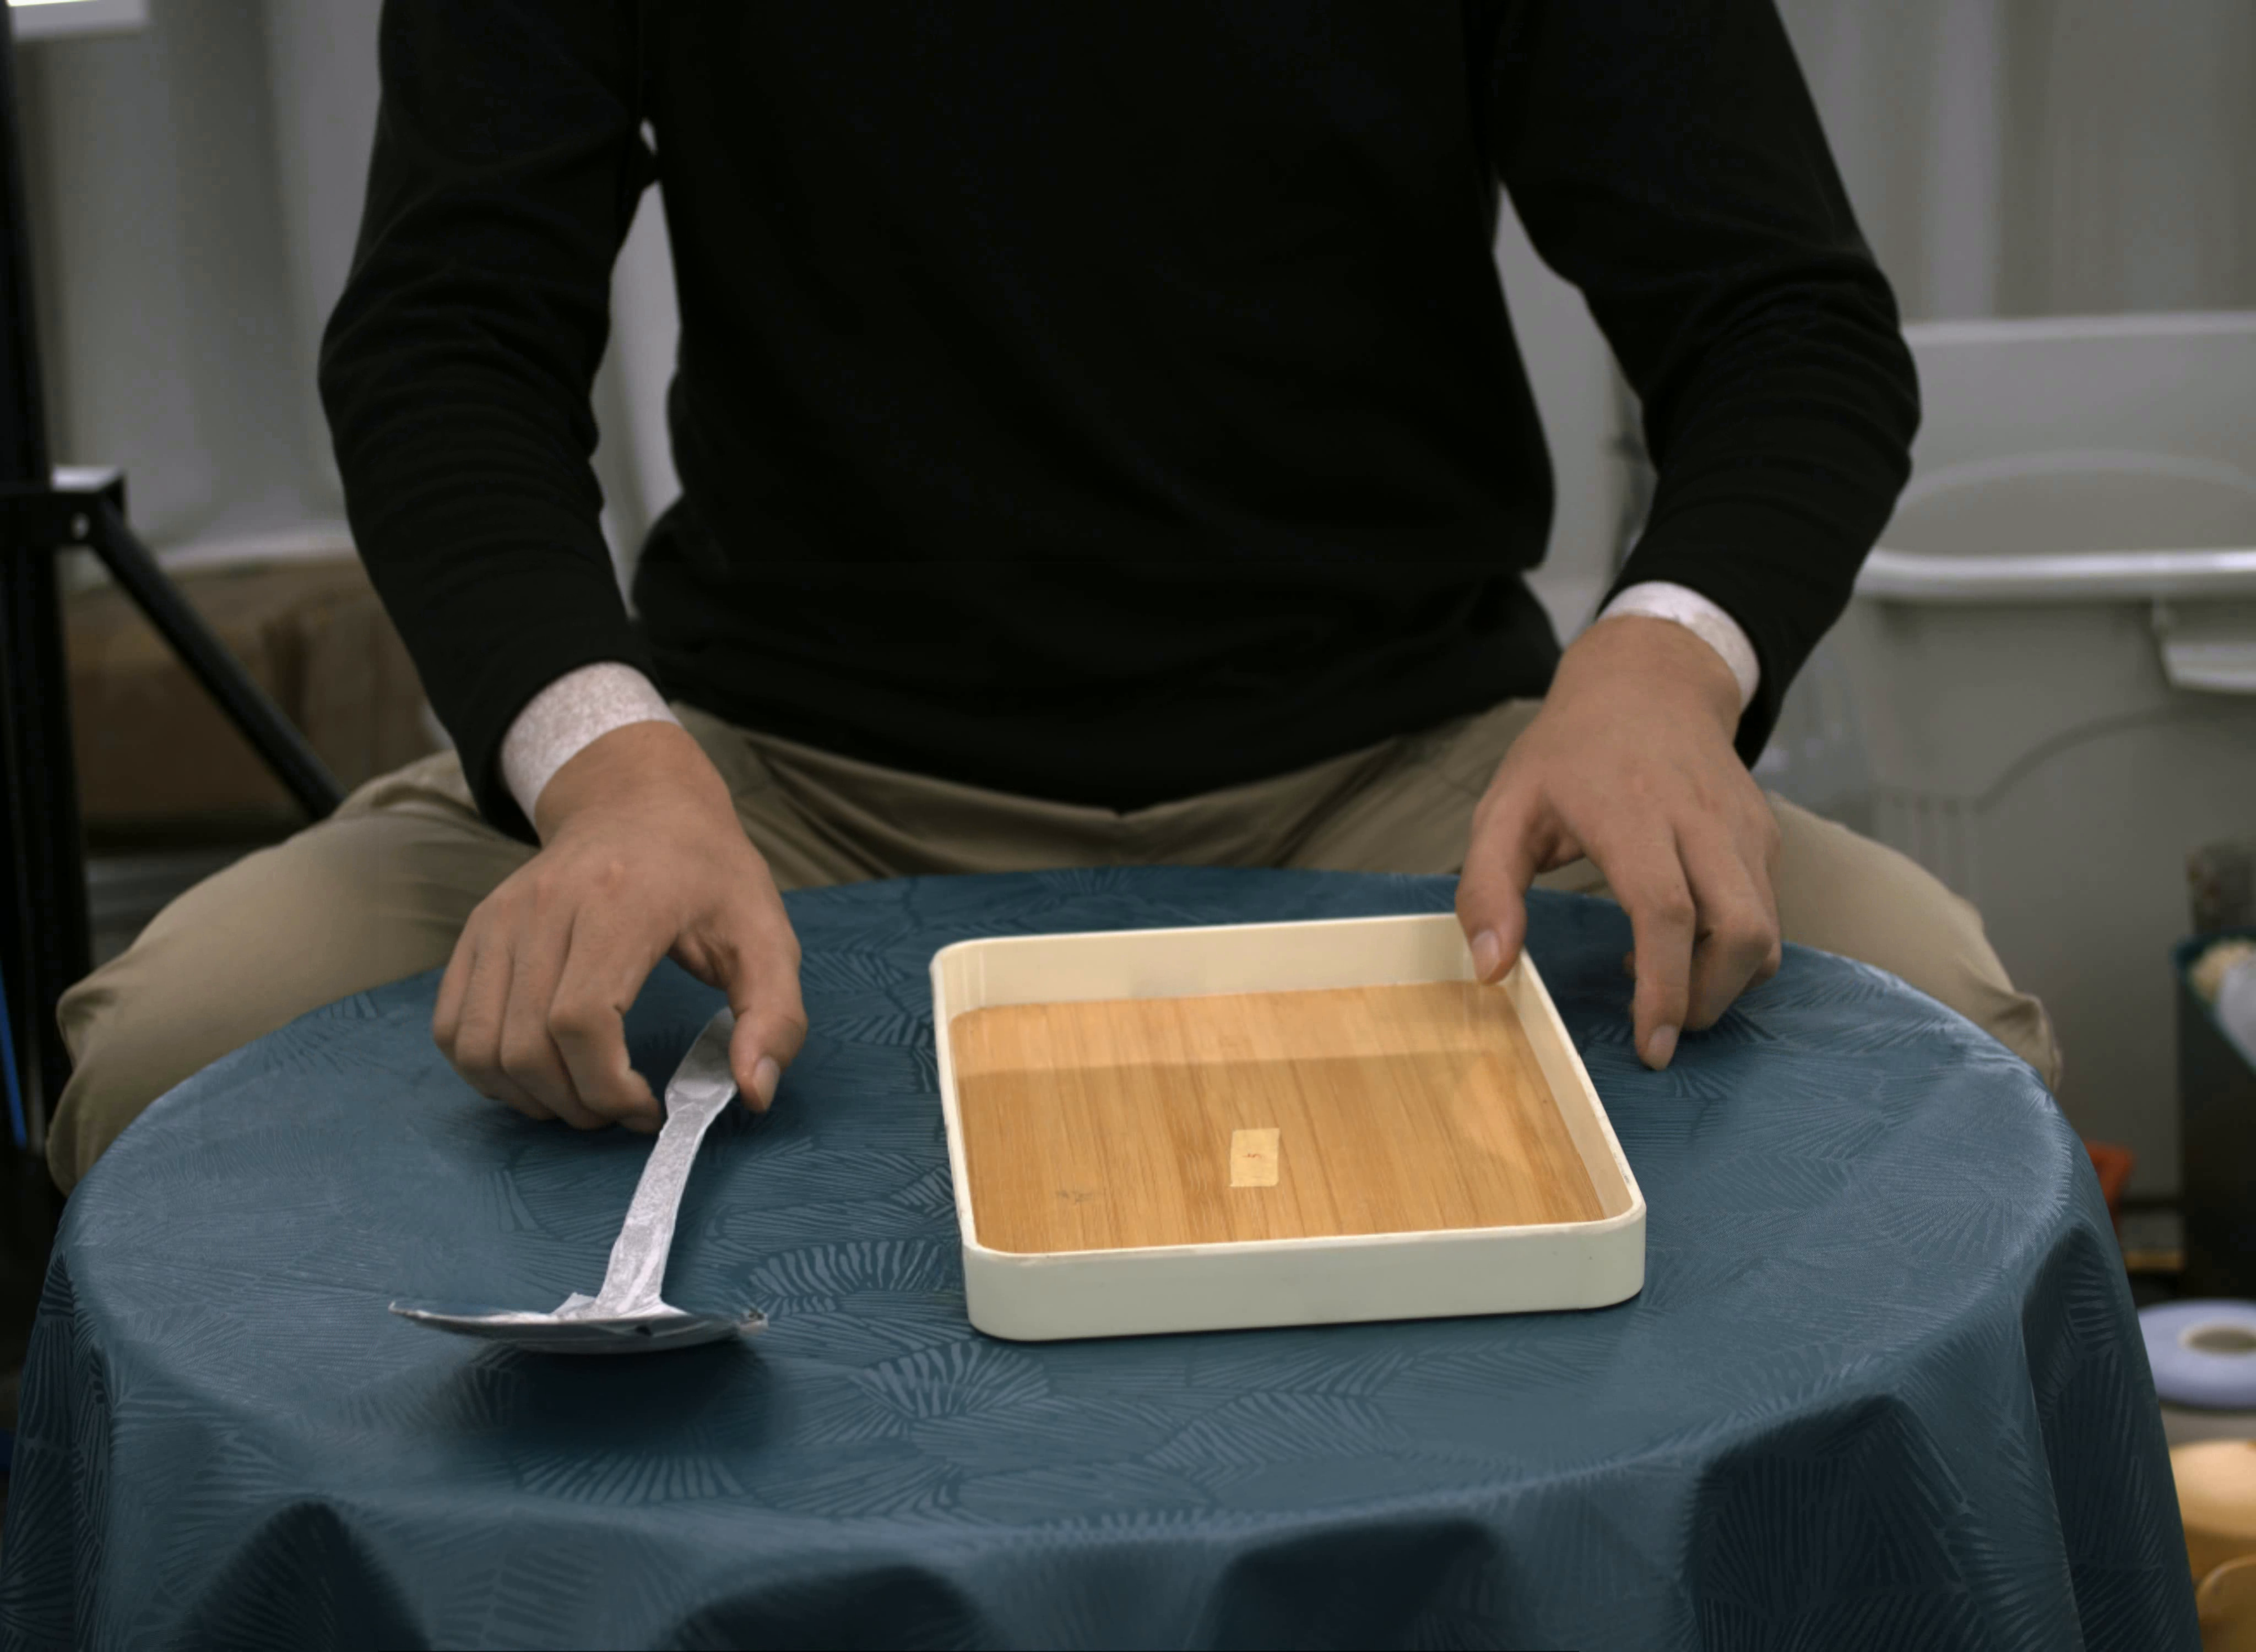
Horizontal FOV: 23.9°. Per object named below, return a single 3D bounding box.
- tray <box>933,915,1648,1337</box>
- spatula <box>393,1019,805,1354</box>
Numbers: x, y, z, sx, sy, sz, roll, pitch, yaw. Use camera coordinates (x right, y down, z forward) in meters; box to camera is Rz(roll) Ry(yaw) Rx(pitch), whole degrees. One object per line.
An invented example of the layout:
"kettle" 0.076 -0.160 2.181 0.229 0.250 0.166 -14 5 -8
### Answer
"tray" 0.041 0.085 1.582 0.190 0.027 0.302 -3 16 -2
"spatula" -0.131 0.096 1.552 0.099 0.045 0.365 -2 16 5
